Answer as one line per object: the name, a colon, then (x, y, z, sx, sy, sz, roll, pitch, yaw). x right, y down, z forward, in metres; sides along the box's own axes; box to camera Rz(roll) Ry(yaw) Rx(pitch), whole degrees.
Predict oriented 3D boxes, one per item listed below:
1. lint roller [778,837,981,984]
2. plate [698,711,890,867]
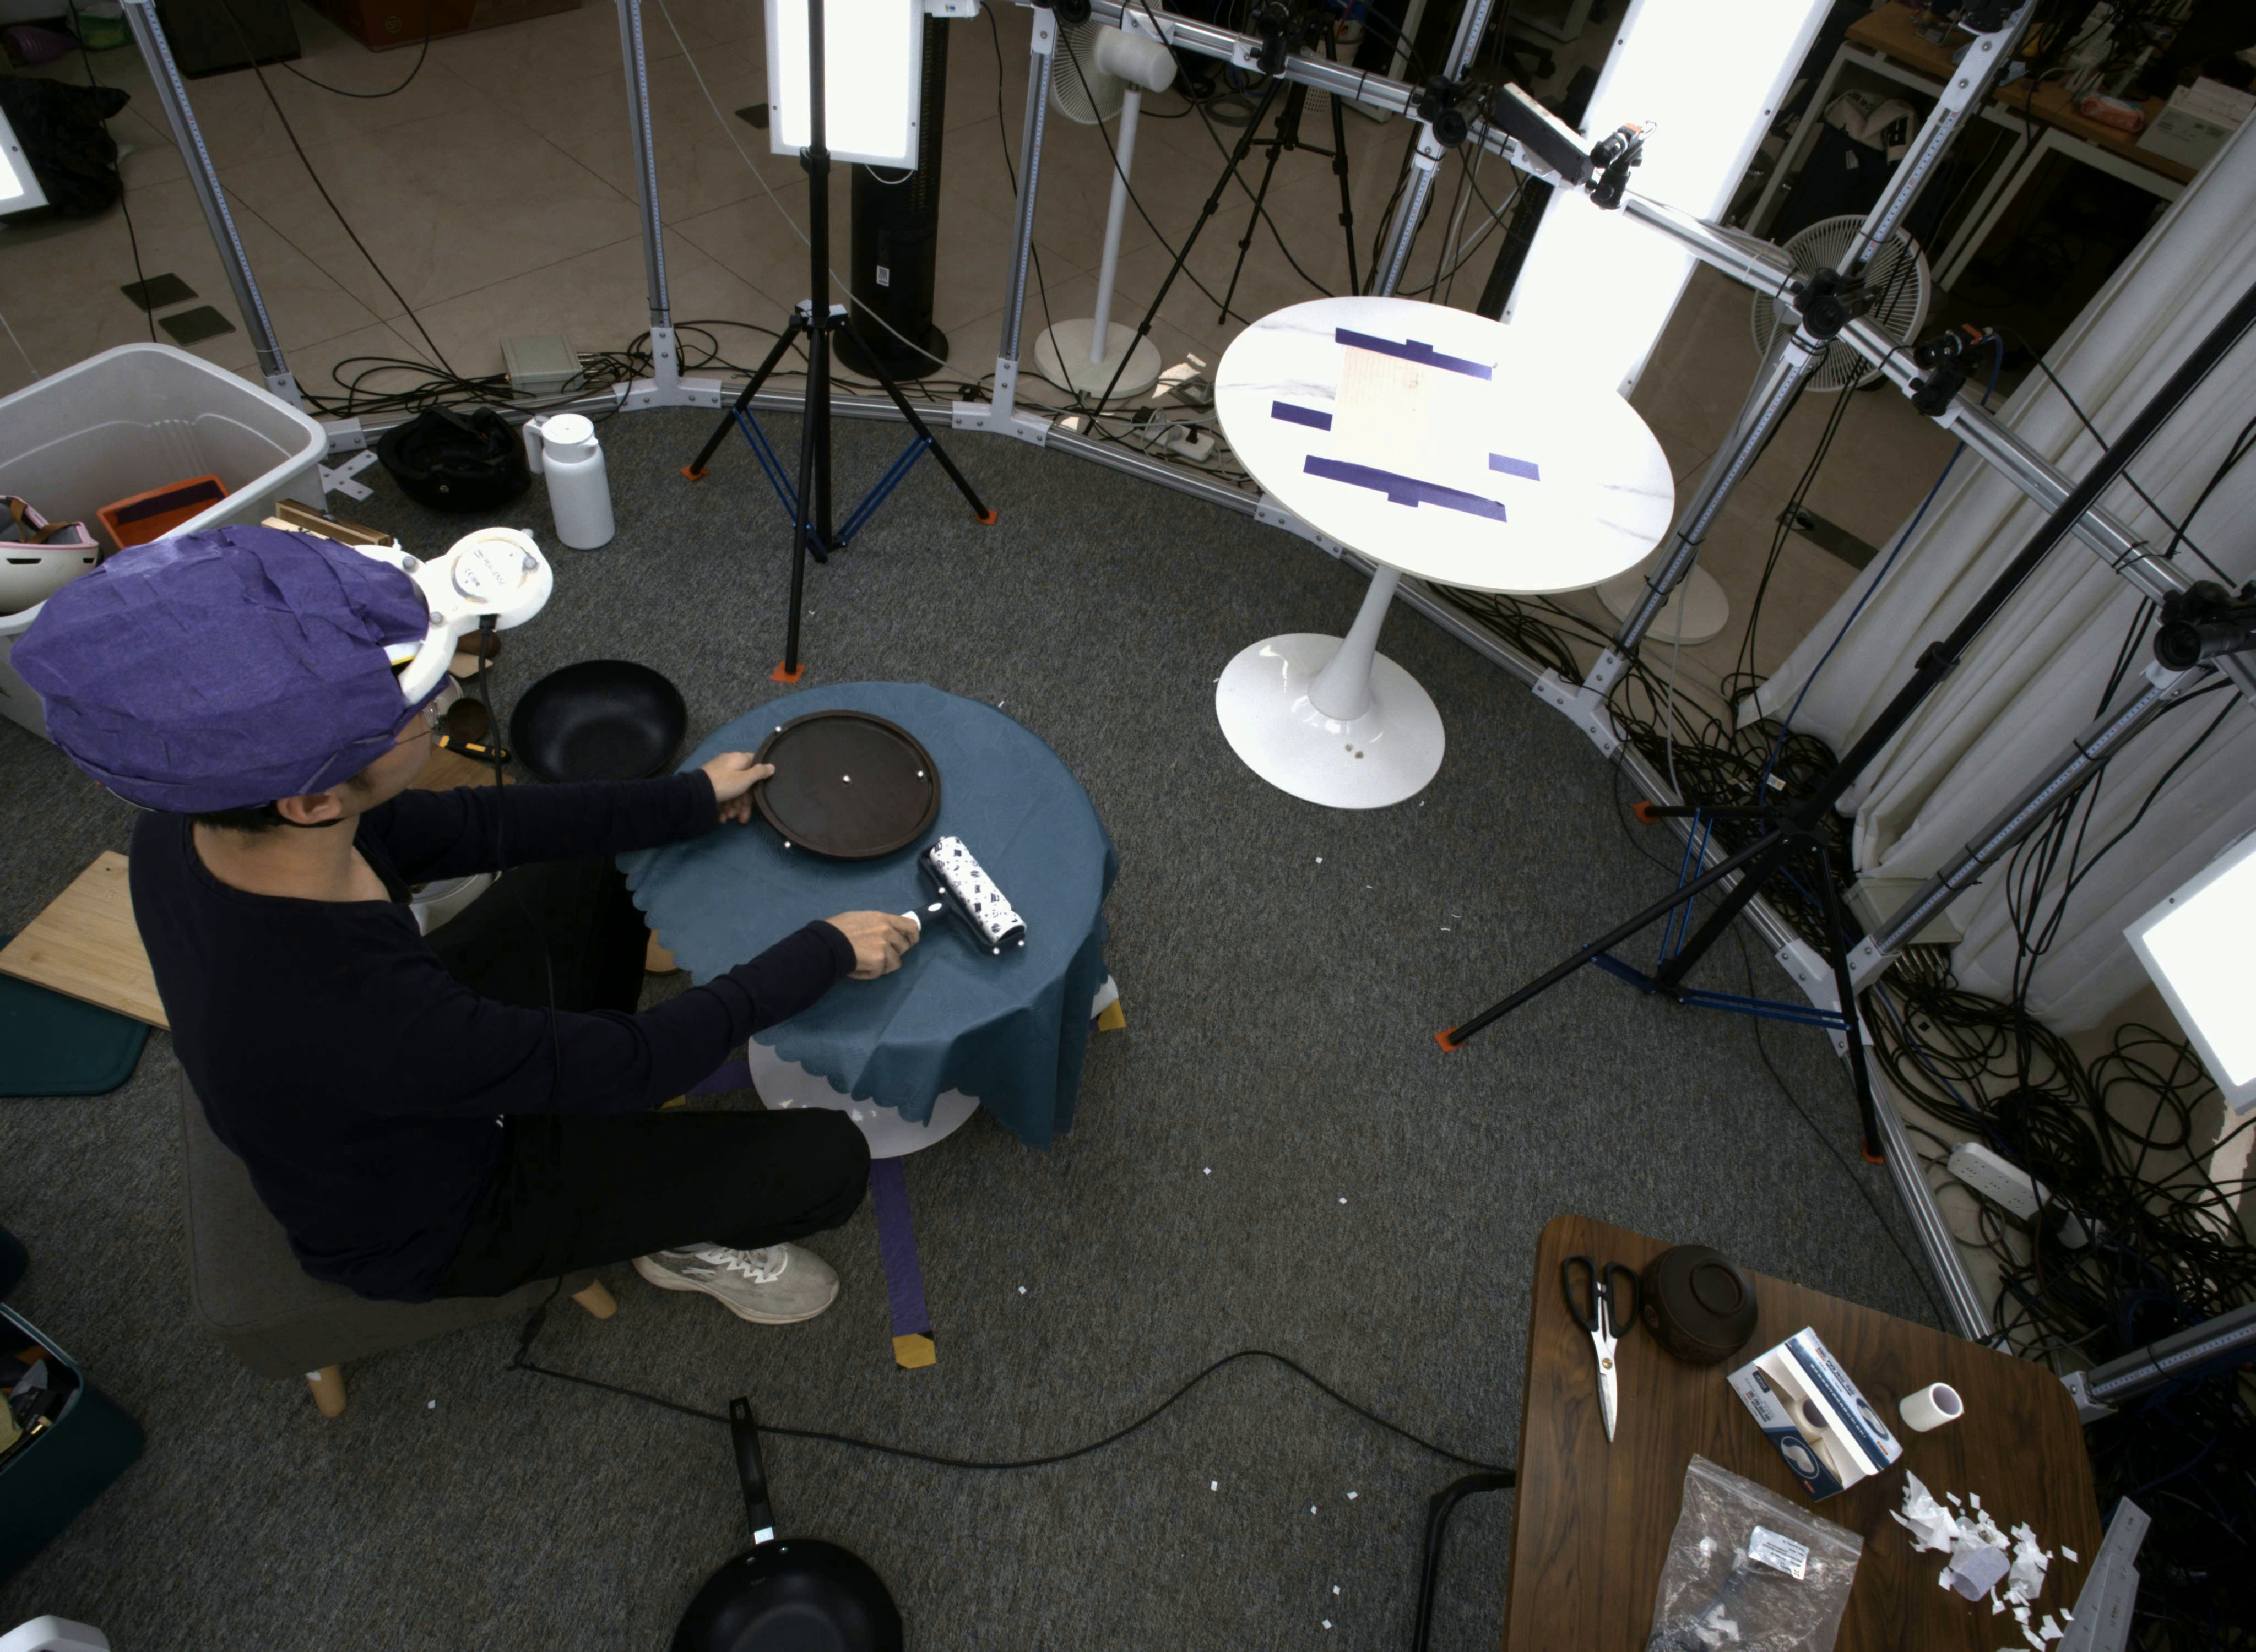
lint roller: (-0.327, 0.125, 1.629, 0.248, 0.051, 0.172, -29, 67, -34)
plate: (-0.446, -0.052, 1.739, 0.255, 0.029, 0.250, 11, 53, -13)
